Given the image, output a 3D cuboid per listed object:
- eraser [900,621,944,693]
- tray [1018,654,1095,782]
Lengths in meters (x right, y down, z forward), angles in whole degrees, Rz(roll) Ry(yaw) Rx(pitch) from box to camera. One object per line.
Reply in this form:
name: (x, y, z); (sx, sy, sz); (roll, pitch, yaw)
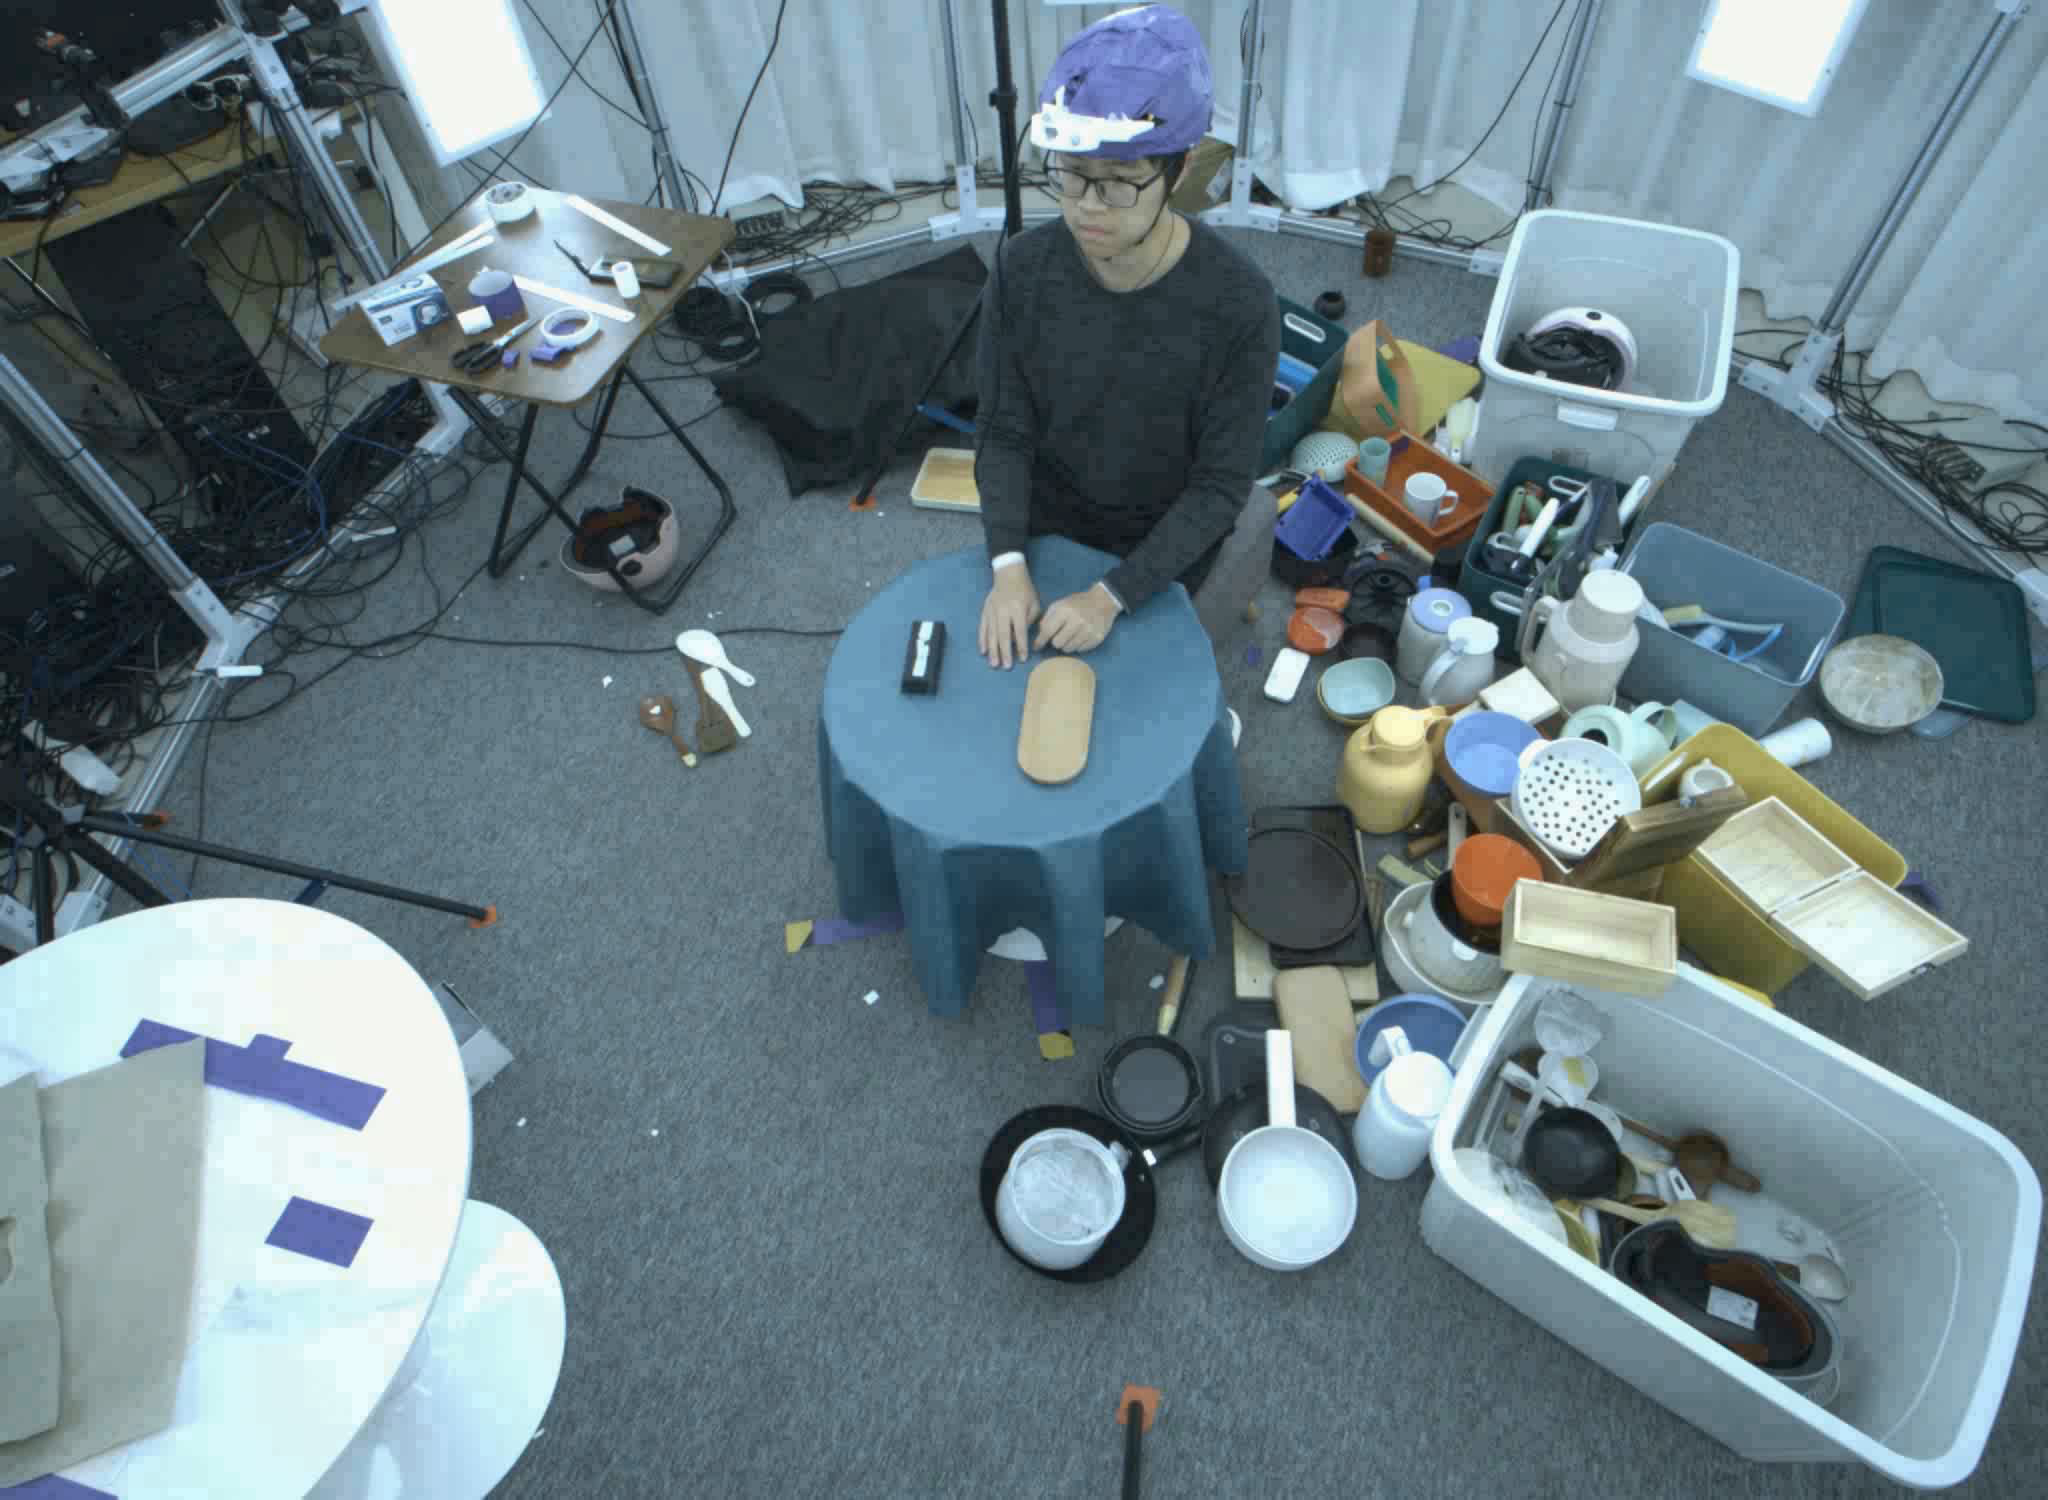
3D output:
eraser: (-0.155, -0.143, 1.877); (0.053, 0.031, 0.124); (3, 54, 2)
tray: (0.048, -0.049, 1.811); (0.101, 0.020, 0.229); (5, 54, 4)
